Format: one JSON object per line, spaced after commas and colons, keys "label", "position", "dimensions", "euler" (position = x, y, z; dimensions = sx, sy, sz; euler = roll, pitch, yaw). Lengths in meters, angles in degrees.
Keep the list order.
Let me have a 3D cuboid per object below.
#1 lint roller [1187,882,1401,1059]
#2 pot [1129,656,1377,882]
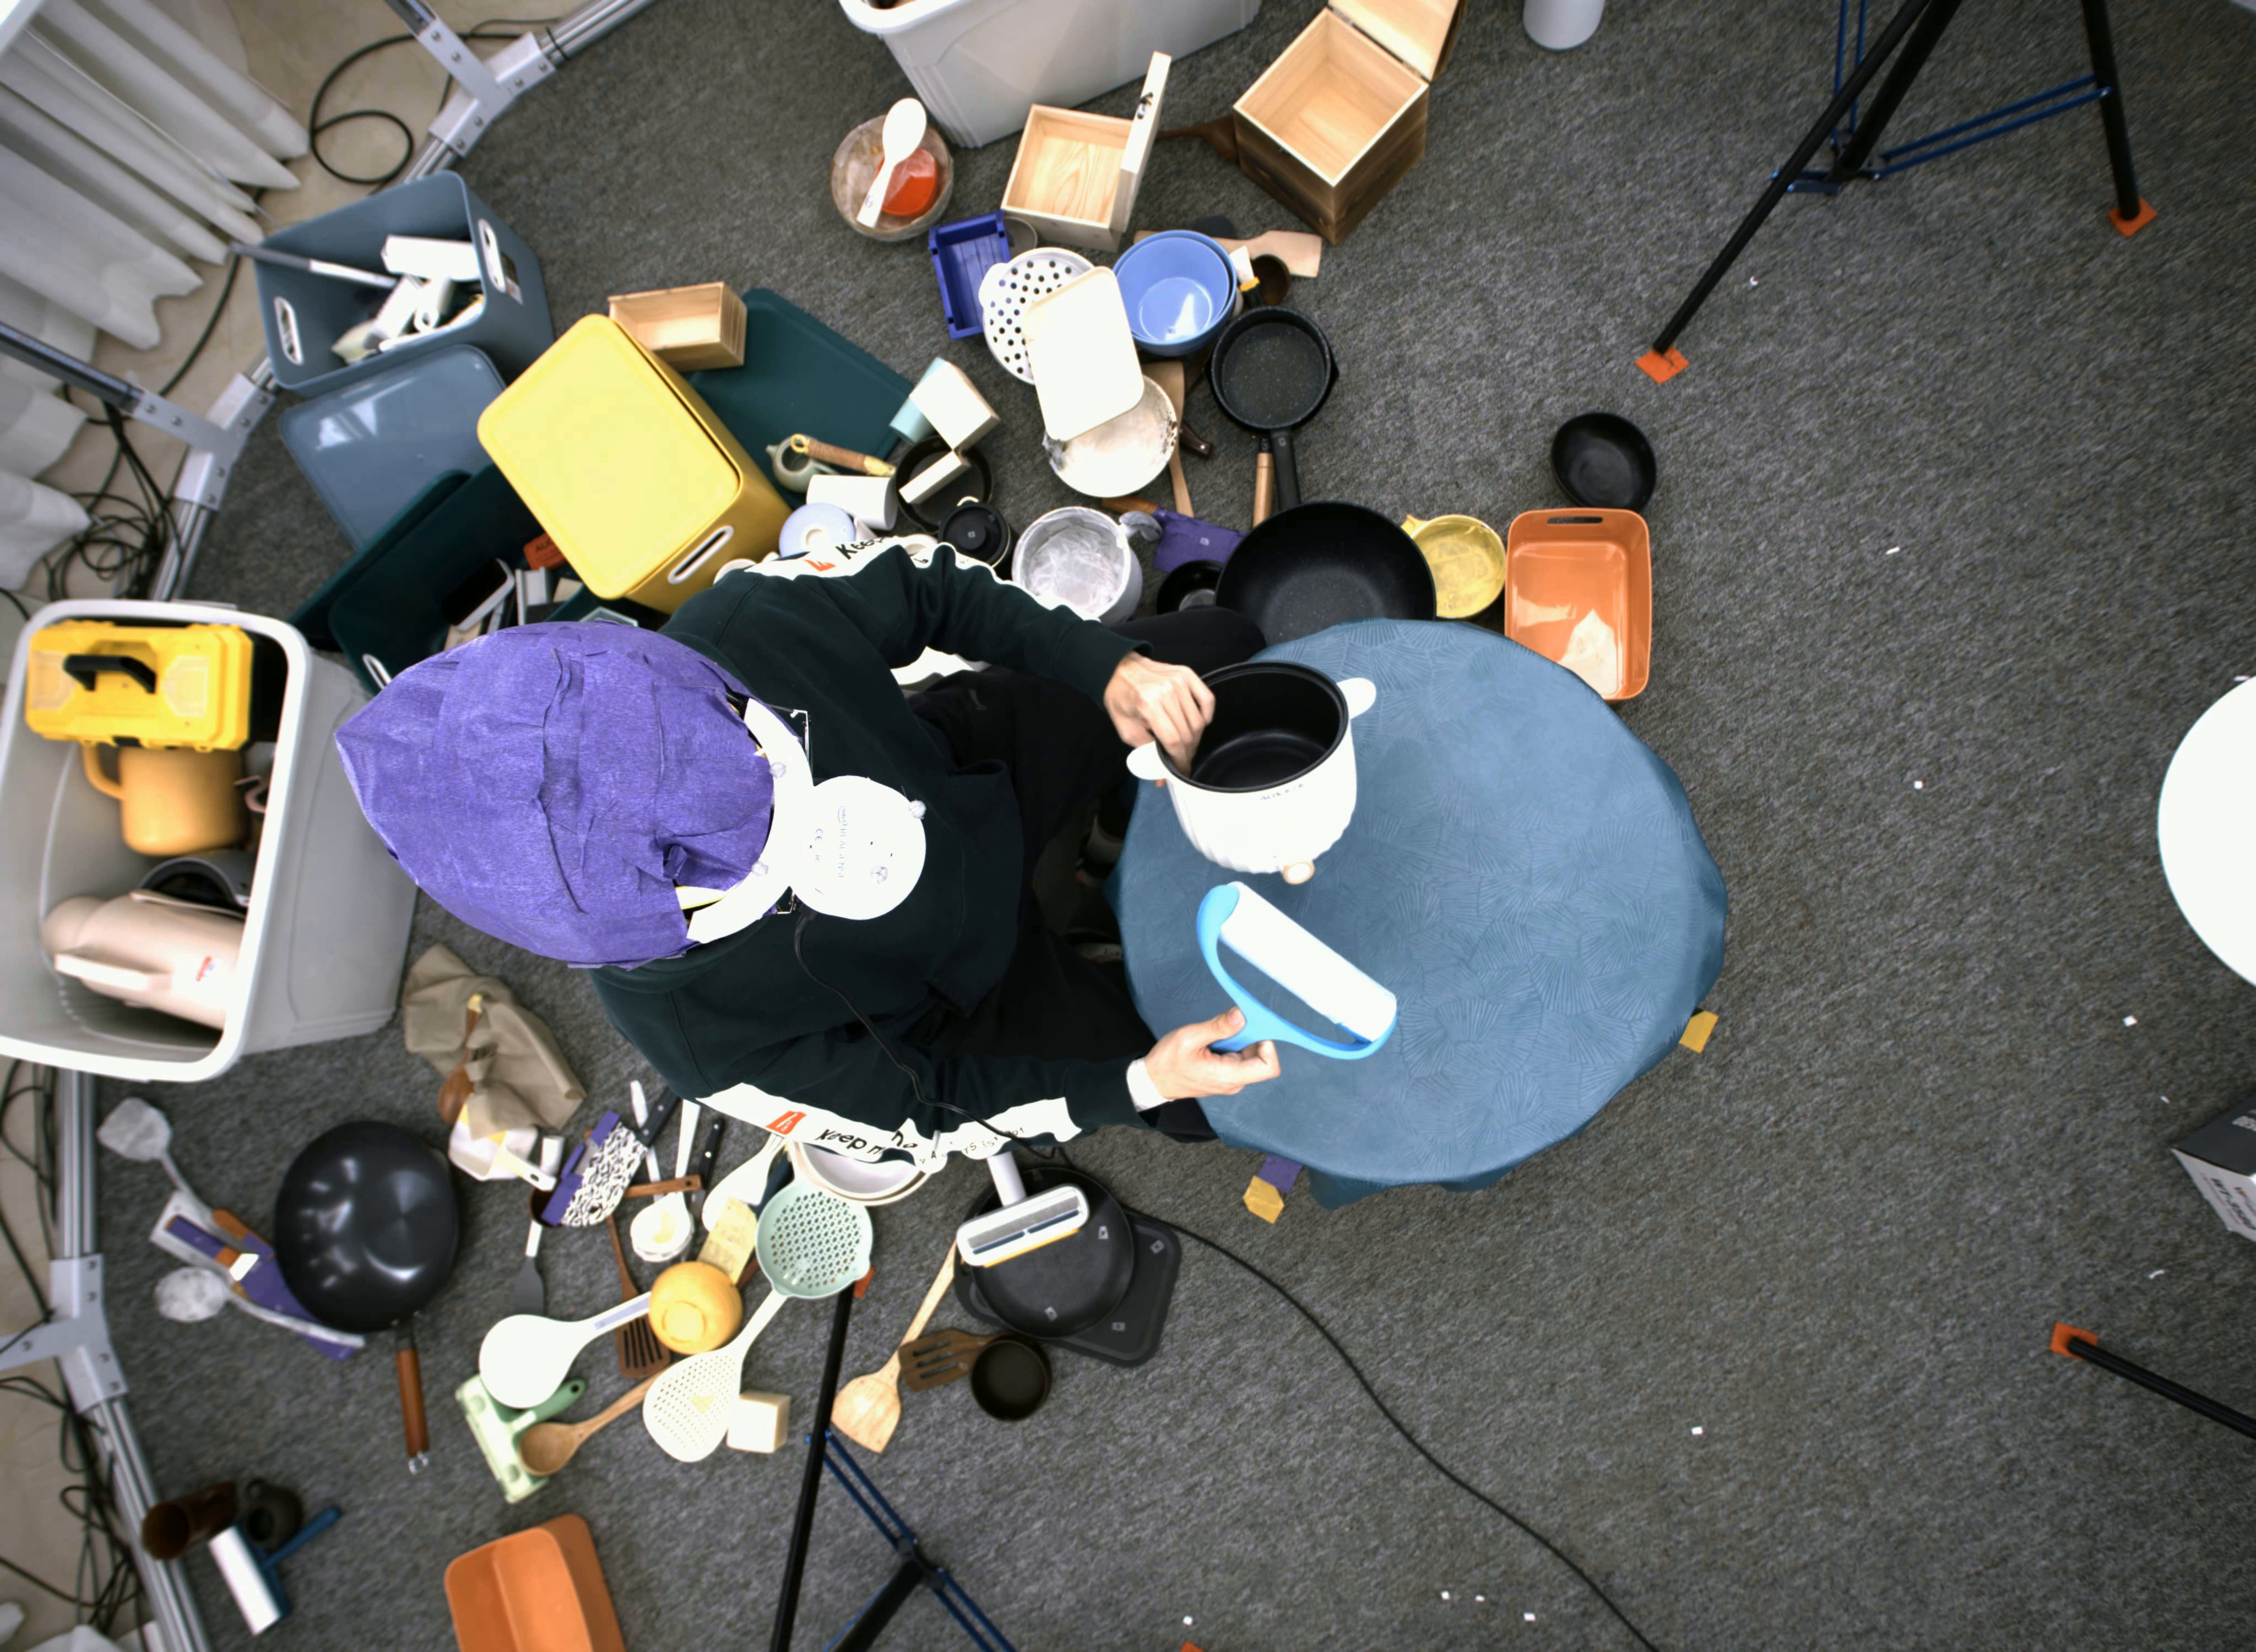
{"label": "lint roller", "position": [0.121, 0.164, 1.259], "dimensions": [0.230, 0.066, 0.183], "euler": [31, 114, -21]}
{"label": "pot", "position": [0.132, -0.048, 1.309], "dimensions": [0.241, 0.145, 0.186], "euler": [-20, 42, 1]}
